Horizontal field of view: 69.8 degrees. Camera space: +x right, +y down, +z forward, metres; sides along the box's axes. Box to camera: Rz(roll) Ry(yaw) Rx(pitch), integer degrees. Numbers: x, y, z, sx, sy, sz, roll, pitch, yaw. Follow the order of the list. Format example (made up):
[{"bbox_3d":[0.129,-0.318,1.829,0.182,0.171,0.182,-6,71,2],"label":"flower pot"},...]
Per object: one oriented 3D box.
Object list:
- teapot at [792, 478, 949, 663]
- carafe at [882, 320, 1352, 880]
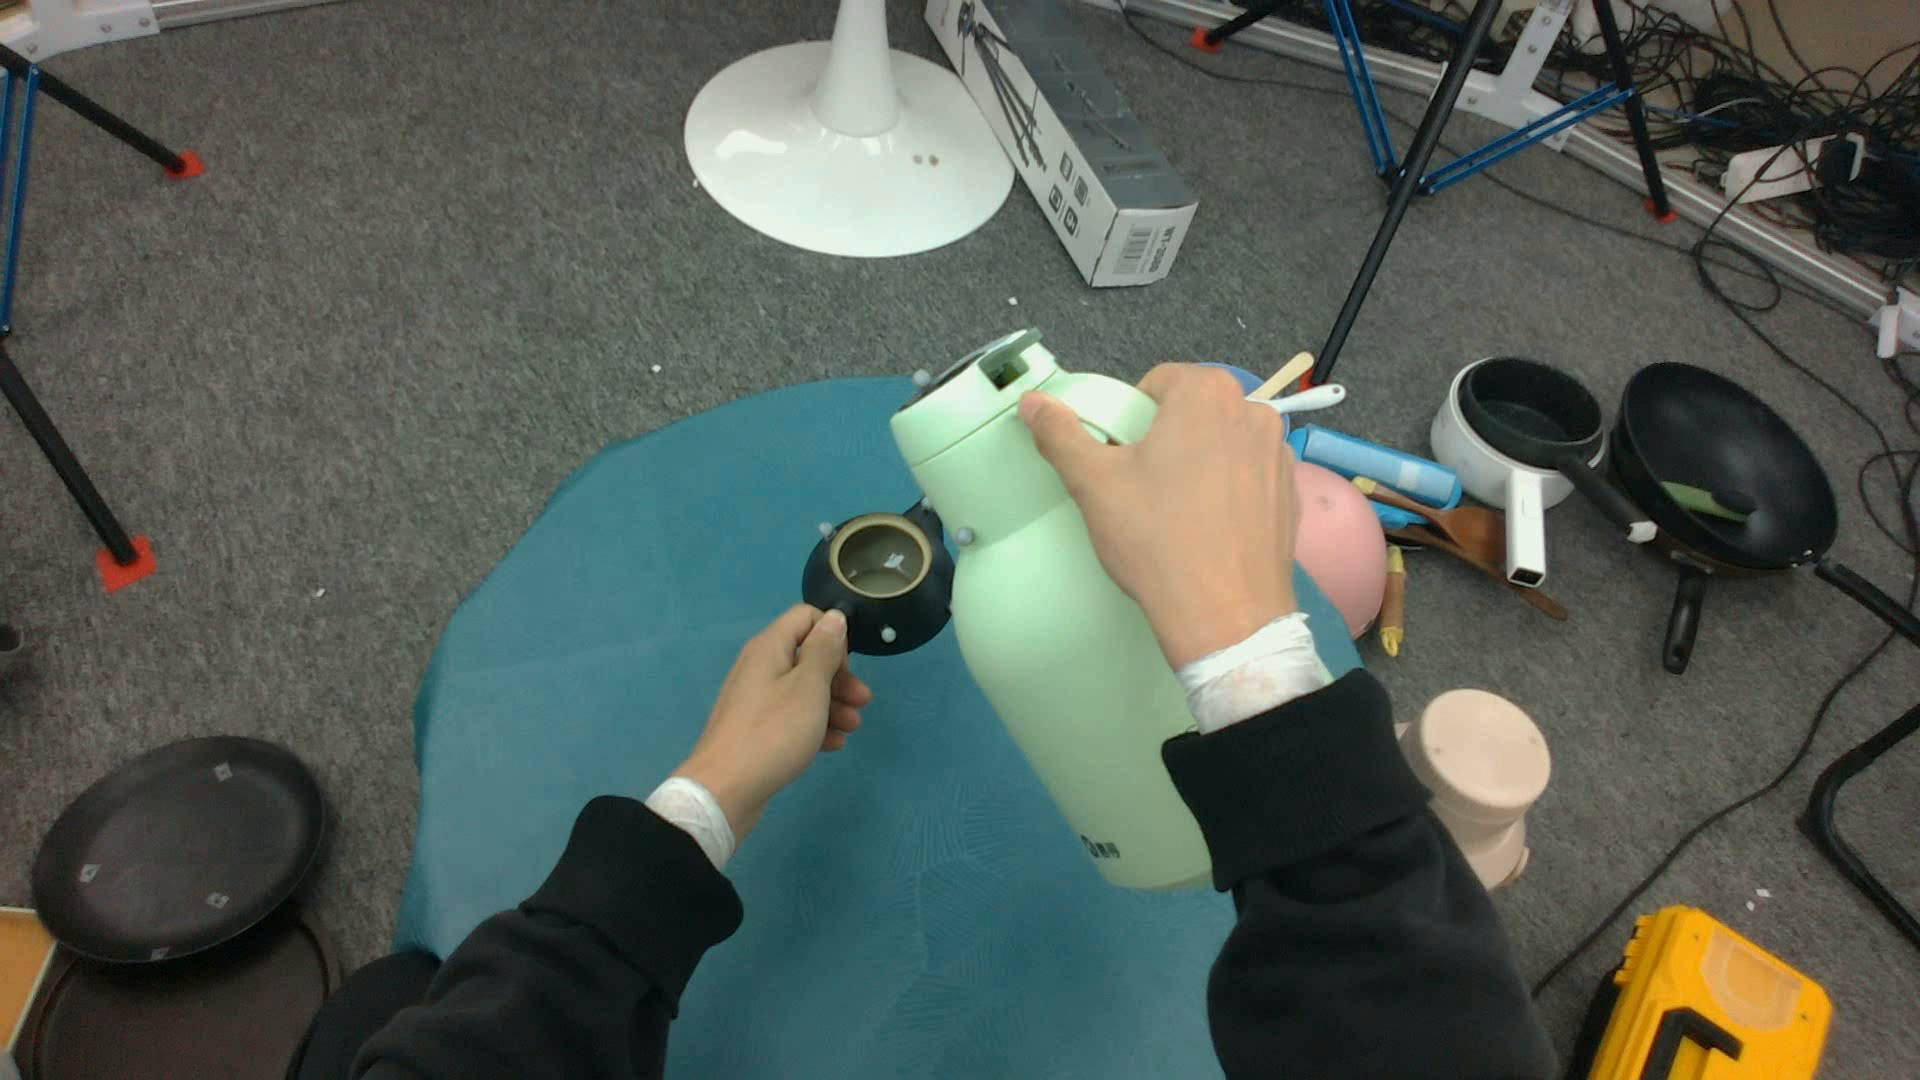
[{"bbox_3d":[-0.052,0.022,0.792,0.091,0.053,0.134,25,53,16],"label":"teapot"},{"bbox_3d":[0.070,0.021,0.639,0.145,0.186,0.256,-39,102,-29],"label":"carafe"}]
